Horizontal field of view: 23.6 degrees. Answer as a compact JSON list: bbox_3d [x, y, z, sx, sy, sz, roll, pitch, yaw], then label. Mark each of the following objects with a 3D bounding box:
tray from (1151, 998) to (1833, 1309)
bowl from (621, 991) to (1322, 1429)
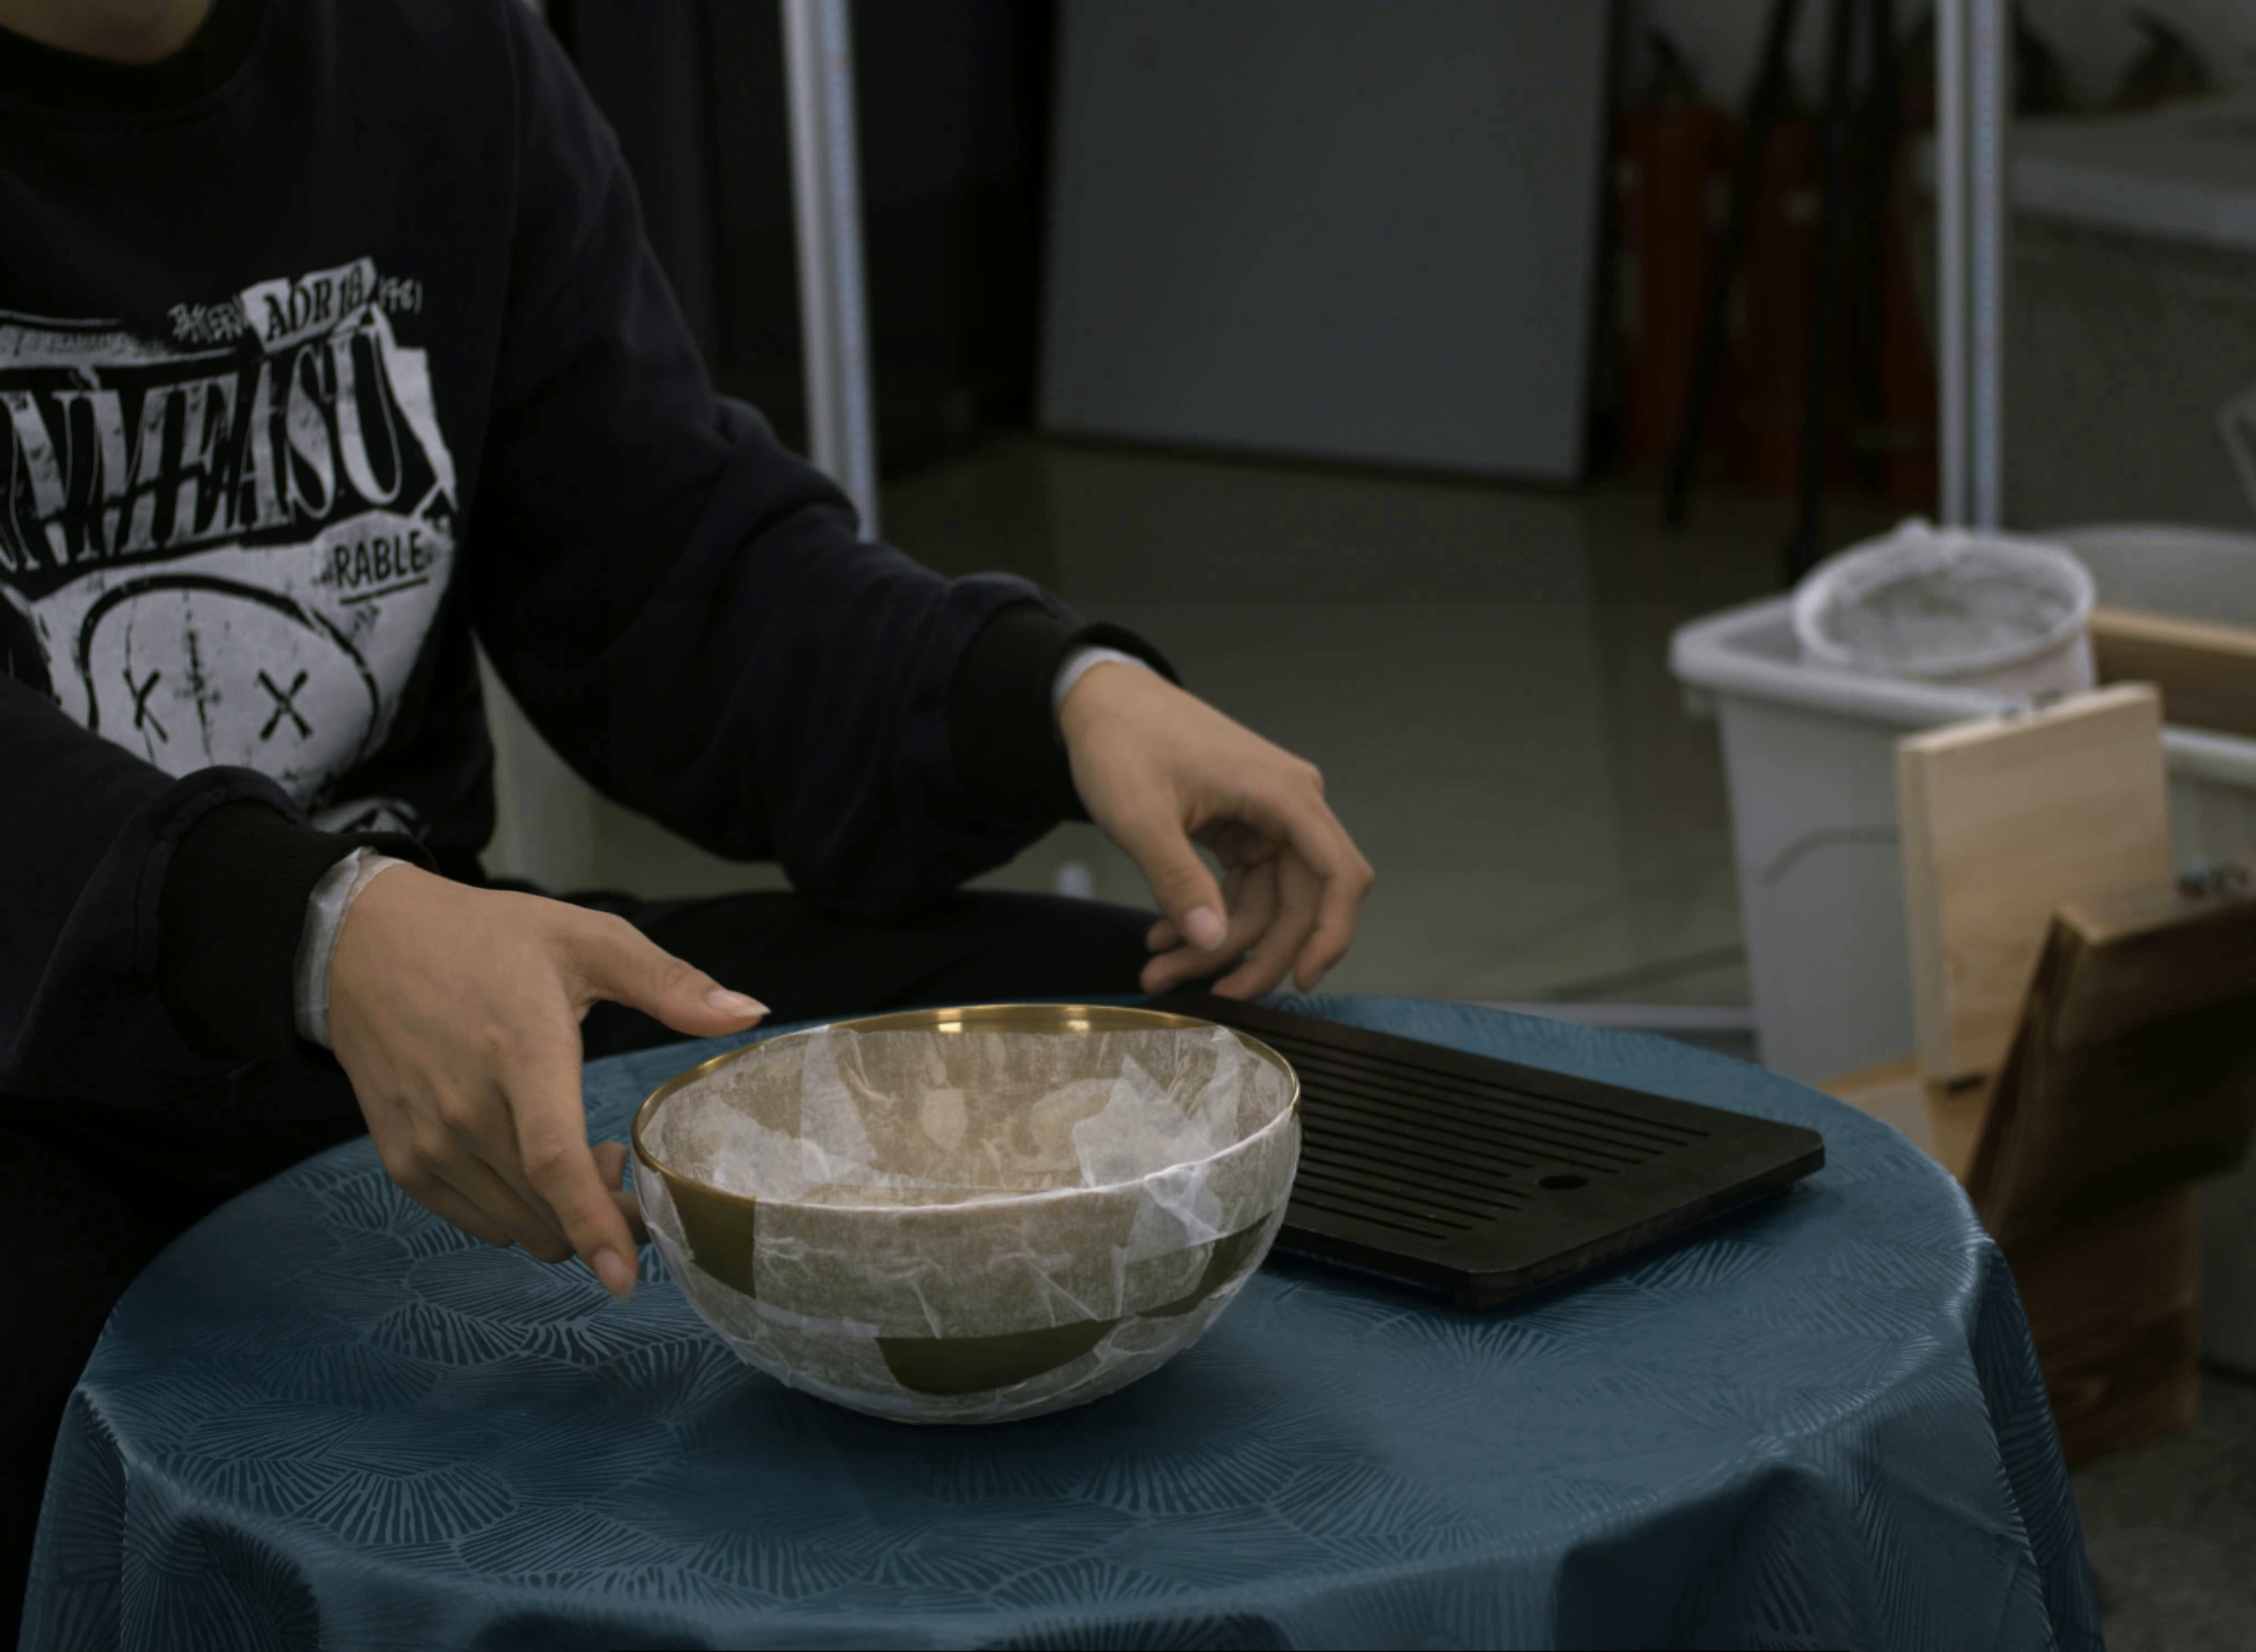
[{"bbox_3d":[0.069,0.105,1.780,0.166,0.019,0.309,-16,18,-41],"label":"tray"},{"bbox_3d":[-0.044,0.121,1.592,0.212,0.095,0.215,-5,14,0],"label":"bowl"}]
